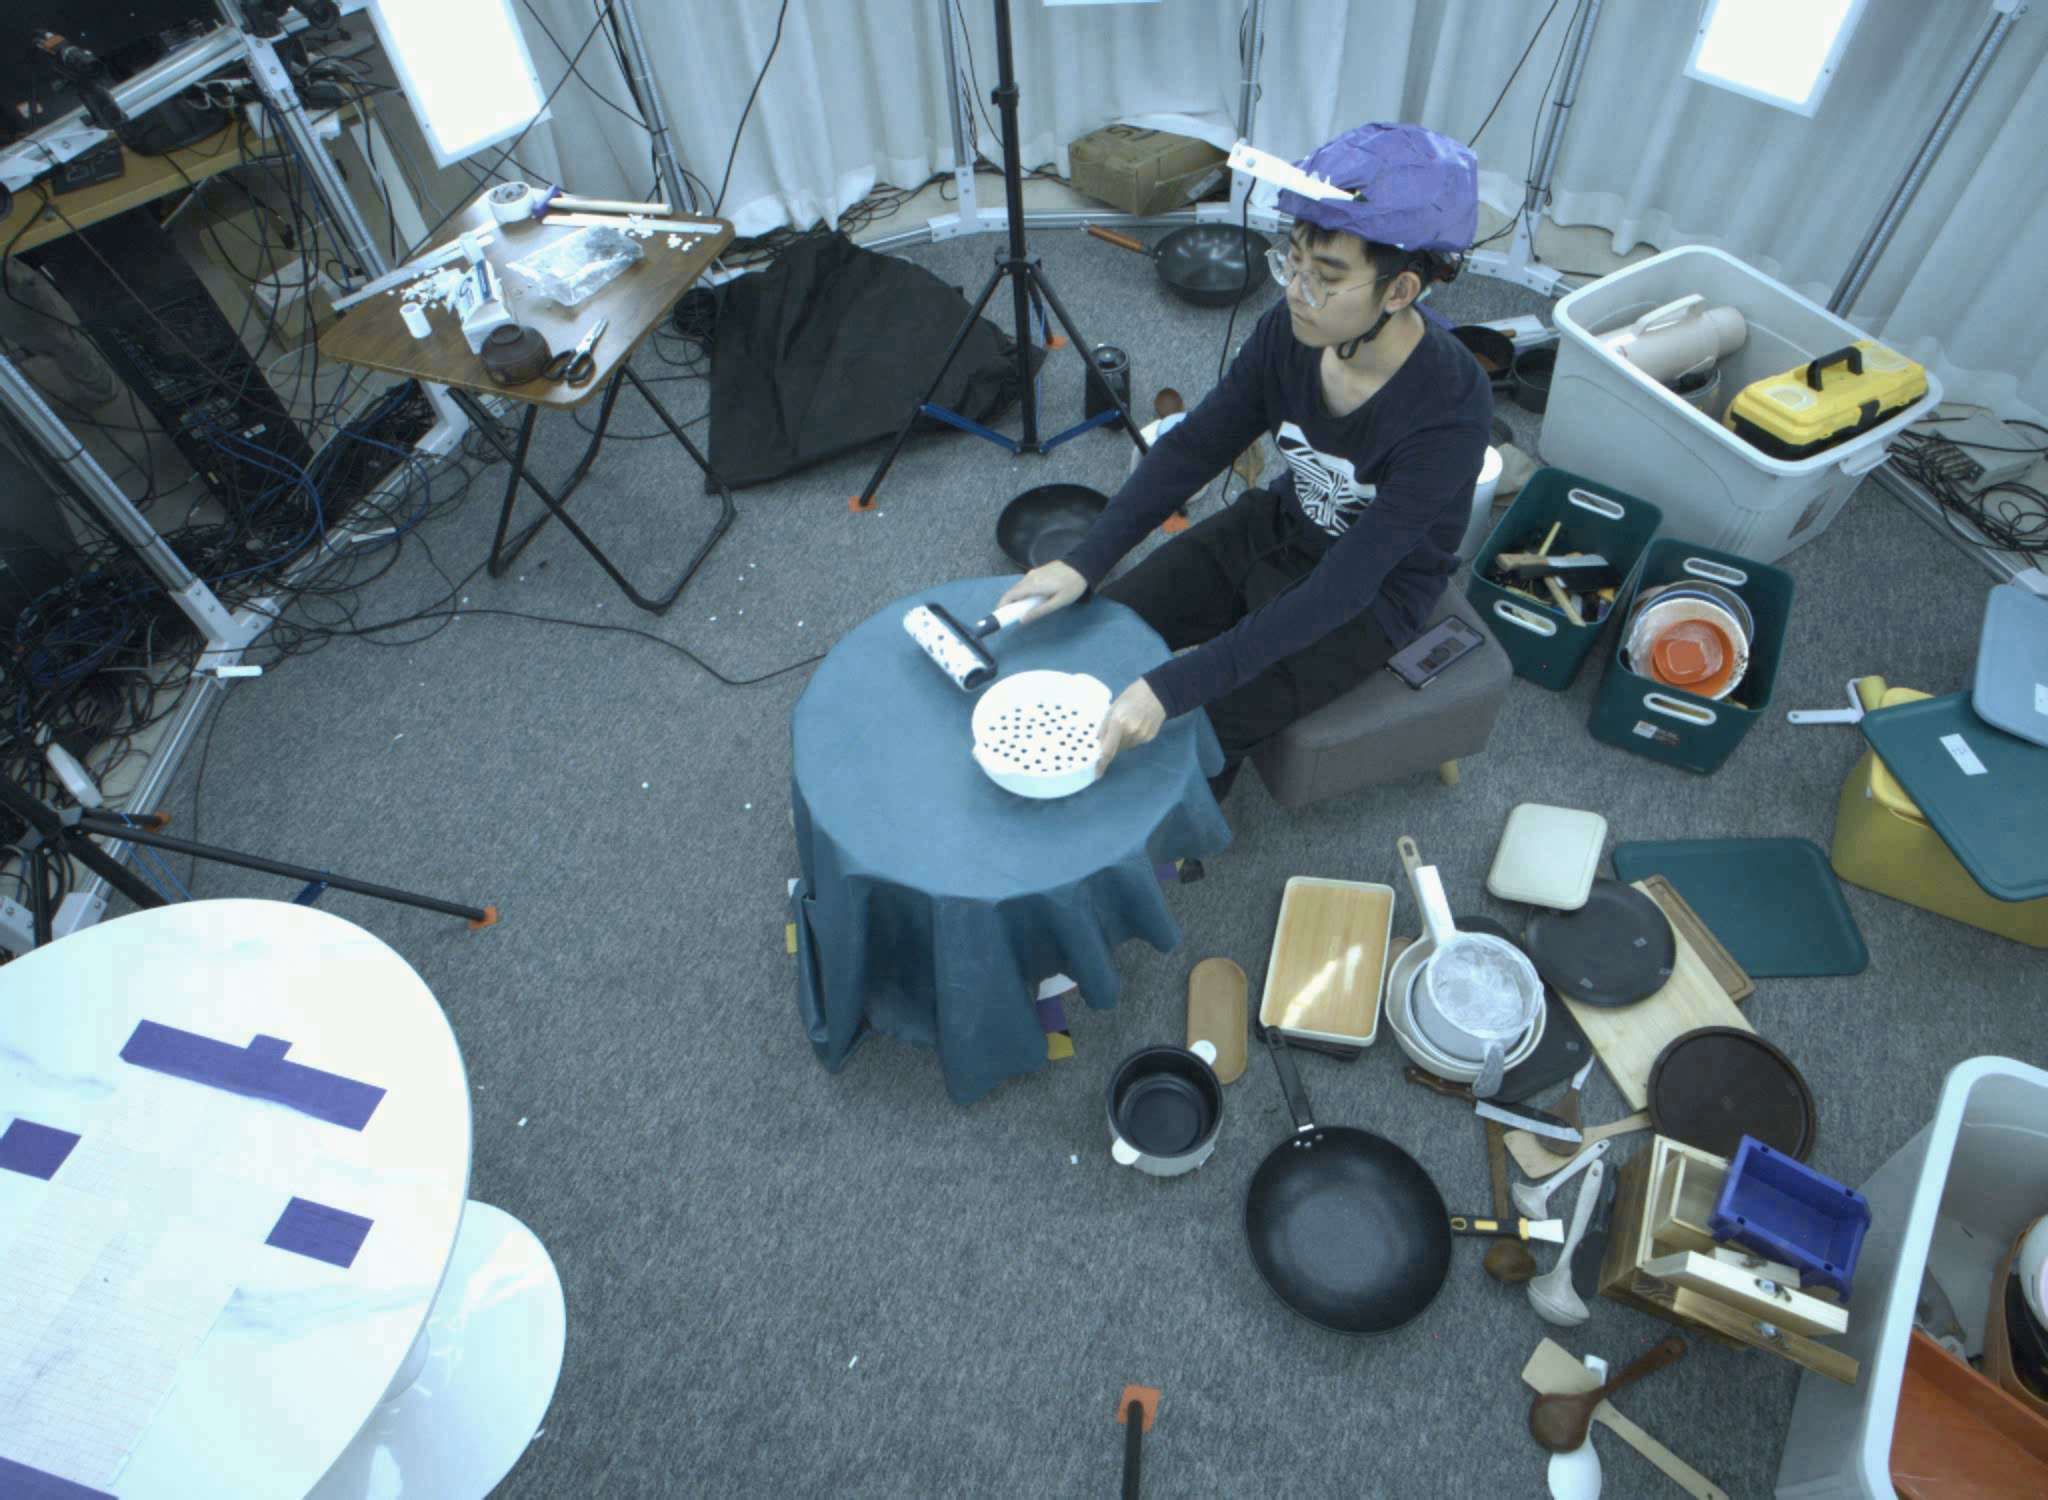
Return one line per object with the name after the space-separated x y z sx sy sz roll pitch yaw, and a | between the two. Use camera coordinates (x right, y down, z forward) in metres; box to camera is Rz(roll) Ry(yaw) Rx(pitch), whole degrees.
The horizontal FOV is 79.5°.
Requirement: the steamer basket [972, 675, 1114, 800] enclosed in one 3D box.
0.026 -0.017 1.759 0.233 0.070 0.198 -33 58 -31 | steamer basket

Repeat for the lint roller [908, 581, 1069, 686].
-0.034 -0.206 1.875 0.249 0.051 0.172 -32 54 -22 | lint roller
